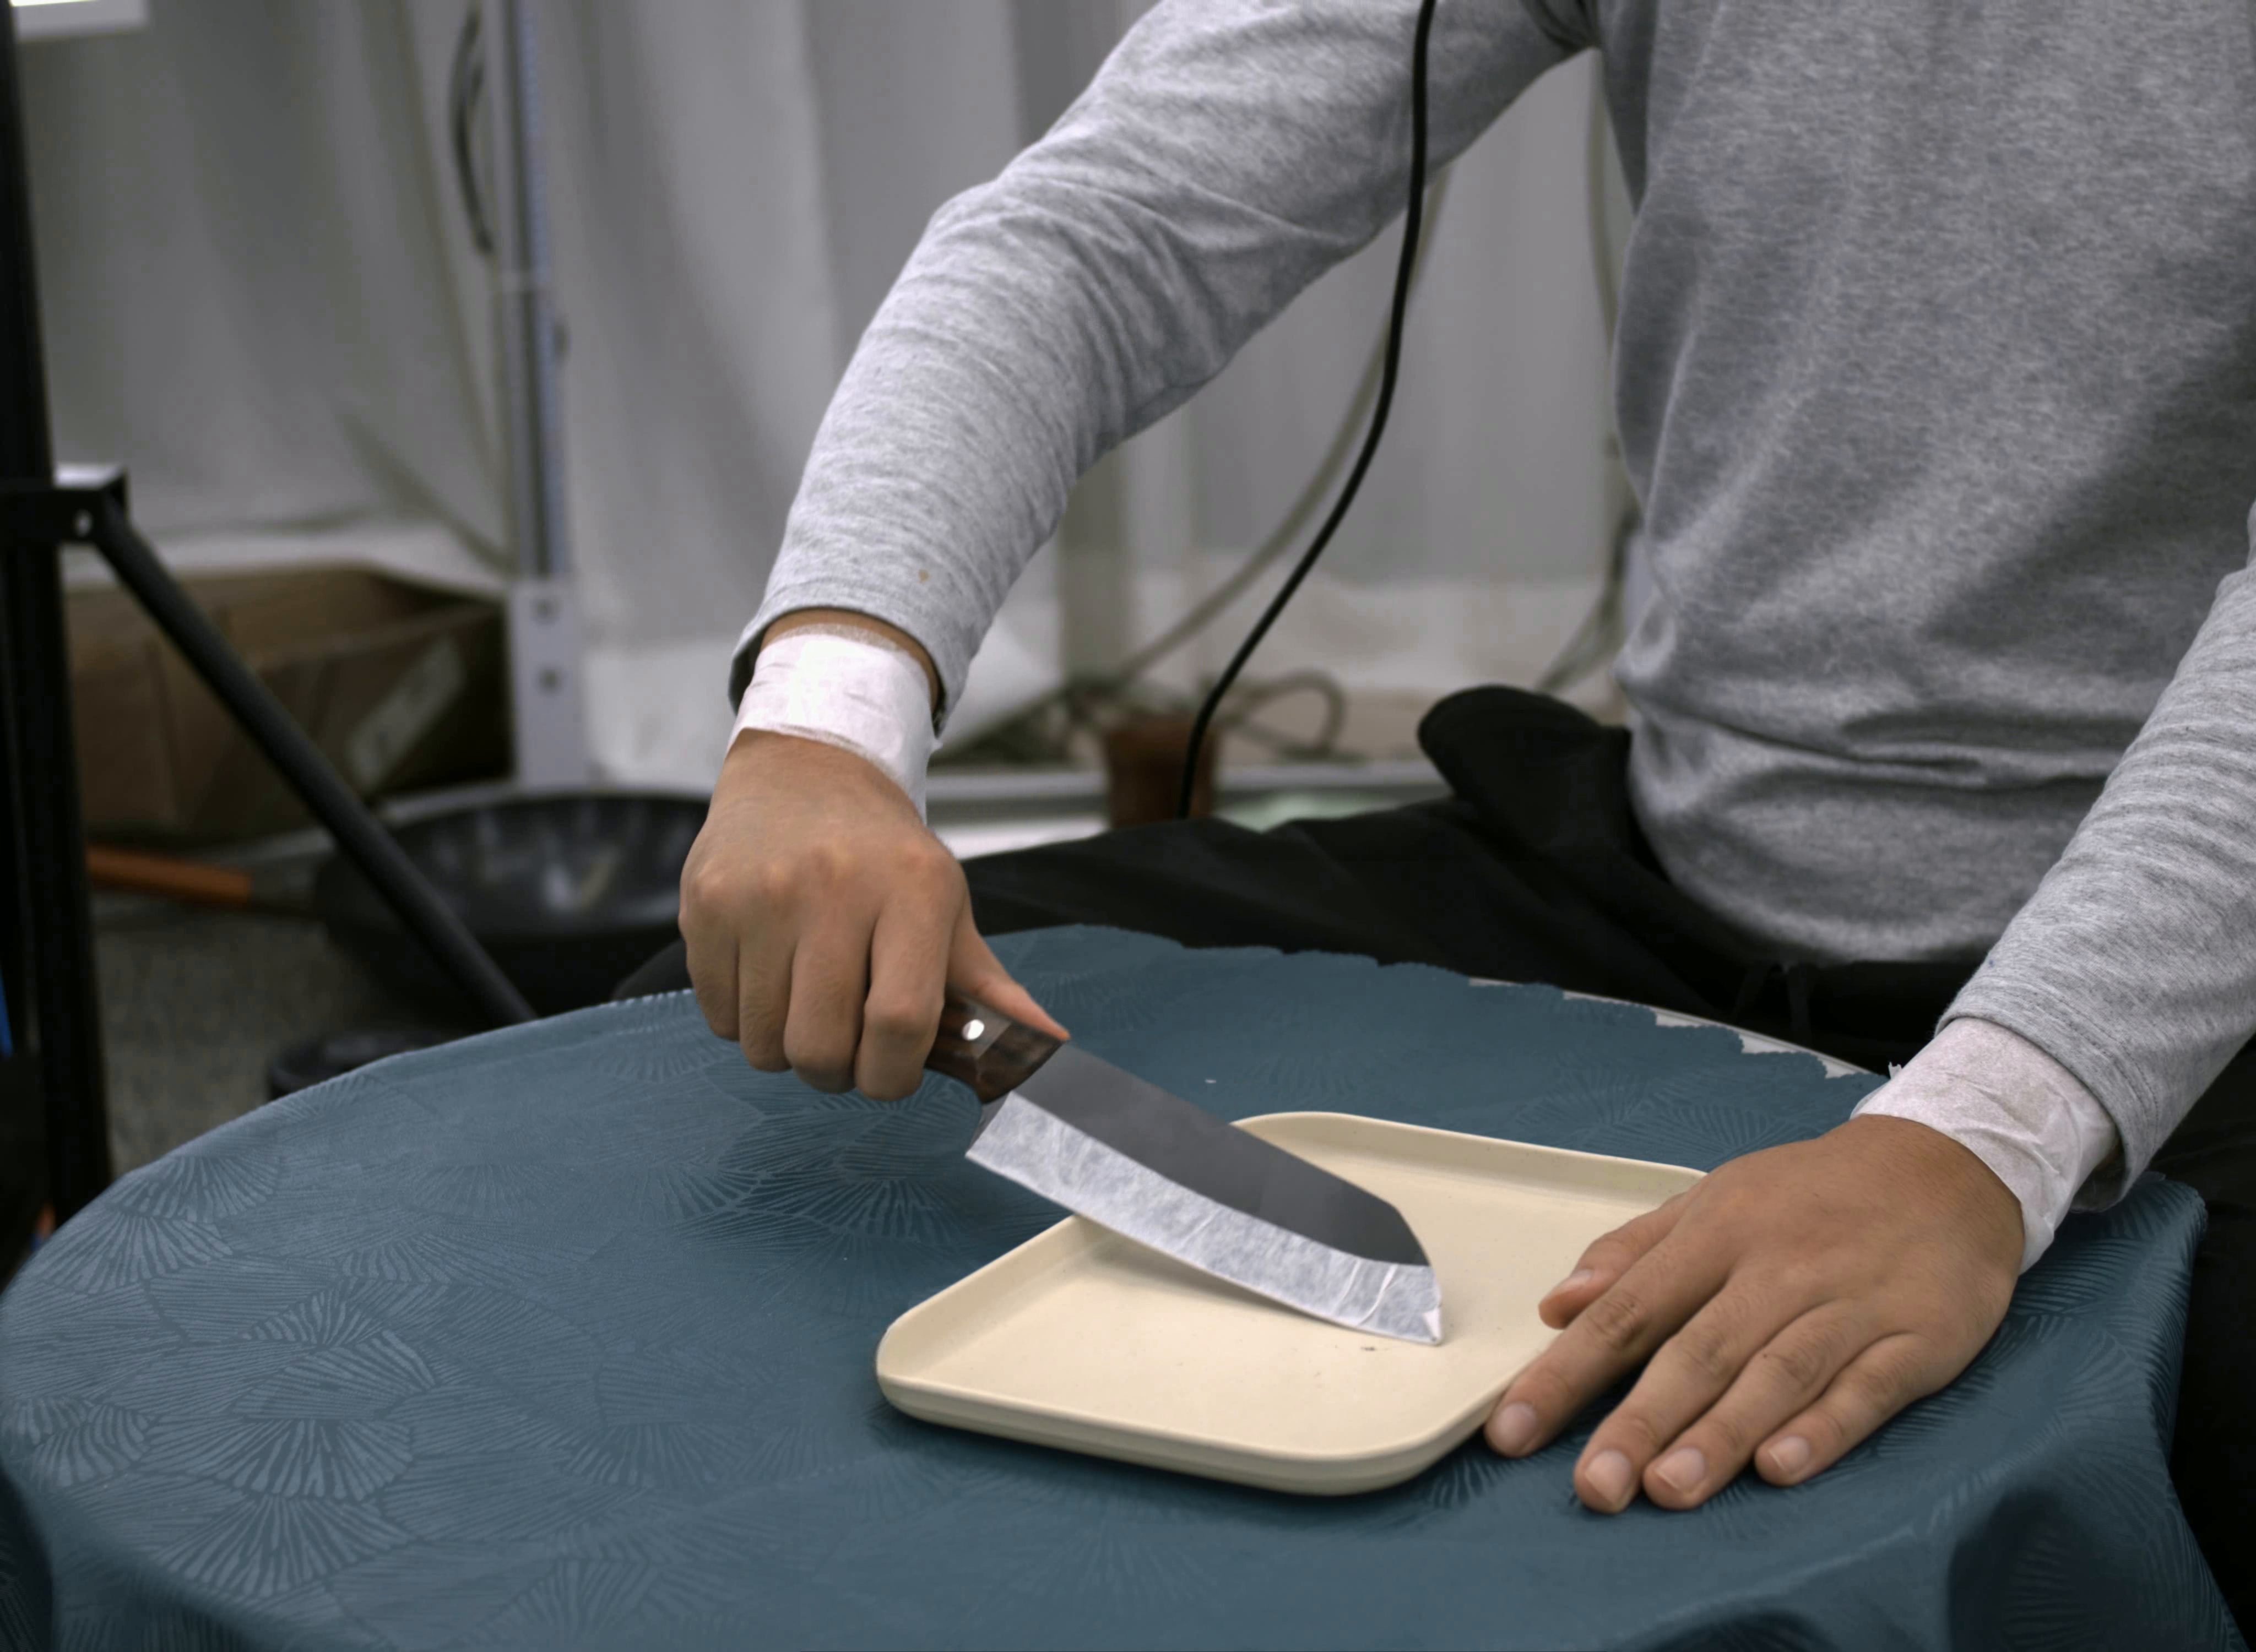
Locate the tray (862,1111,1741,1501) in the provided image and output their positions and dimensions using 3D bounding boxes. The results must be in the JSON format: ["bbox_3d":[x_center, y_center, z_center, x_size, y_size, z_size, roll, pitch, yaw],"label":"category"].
[{"bbox_3d":[0.051,0.129,1.448,0.174,0.017,0.235,8,19,31],"label":"tray"}]

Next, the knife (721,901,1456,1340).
[{"bbox_3d":[-0.015,0.083,1.517,0.295,0.019,0.050,27,73,38],"label":"knife"}]
